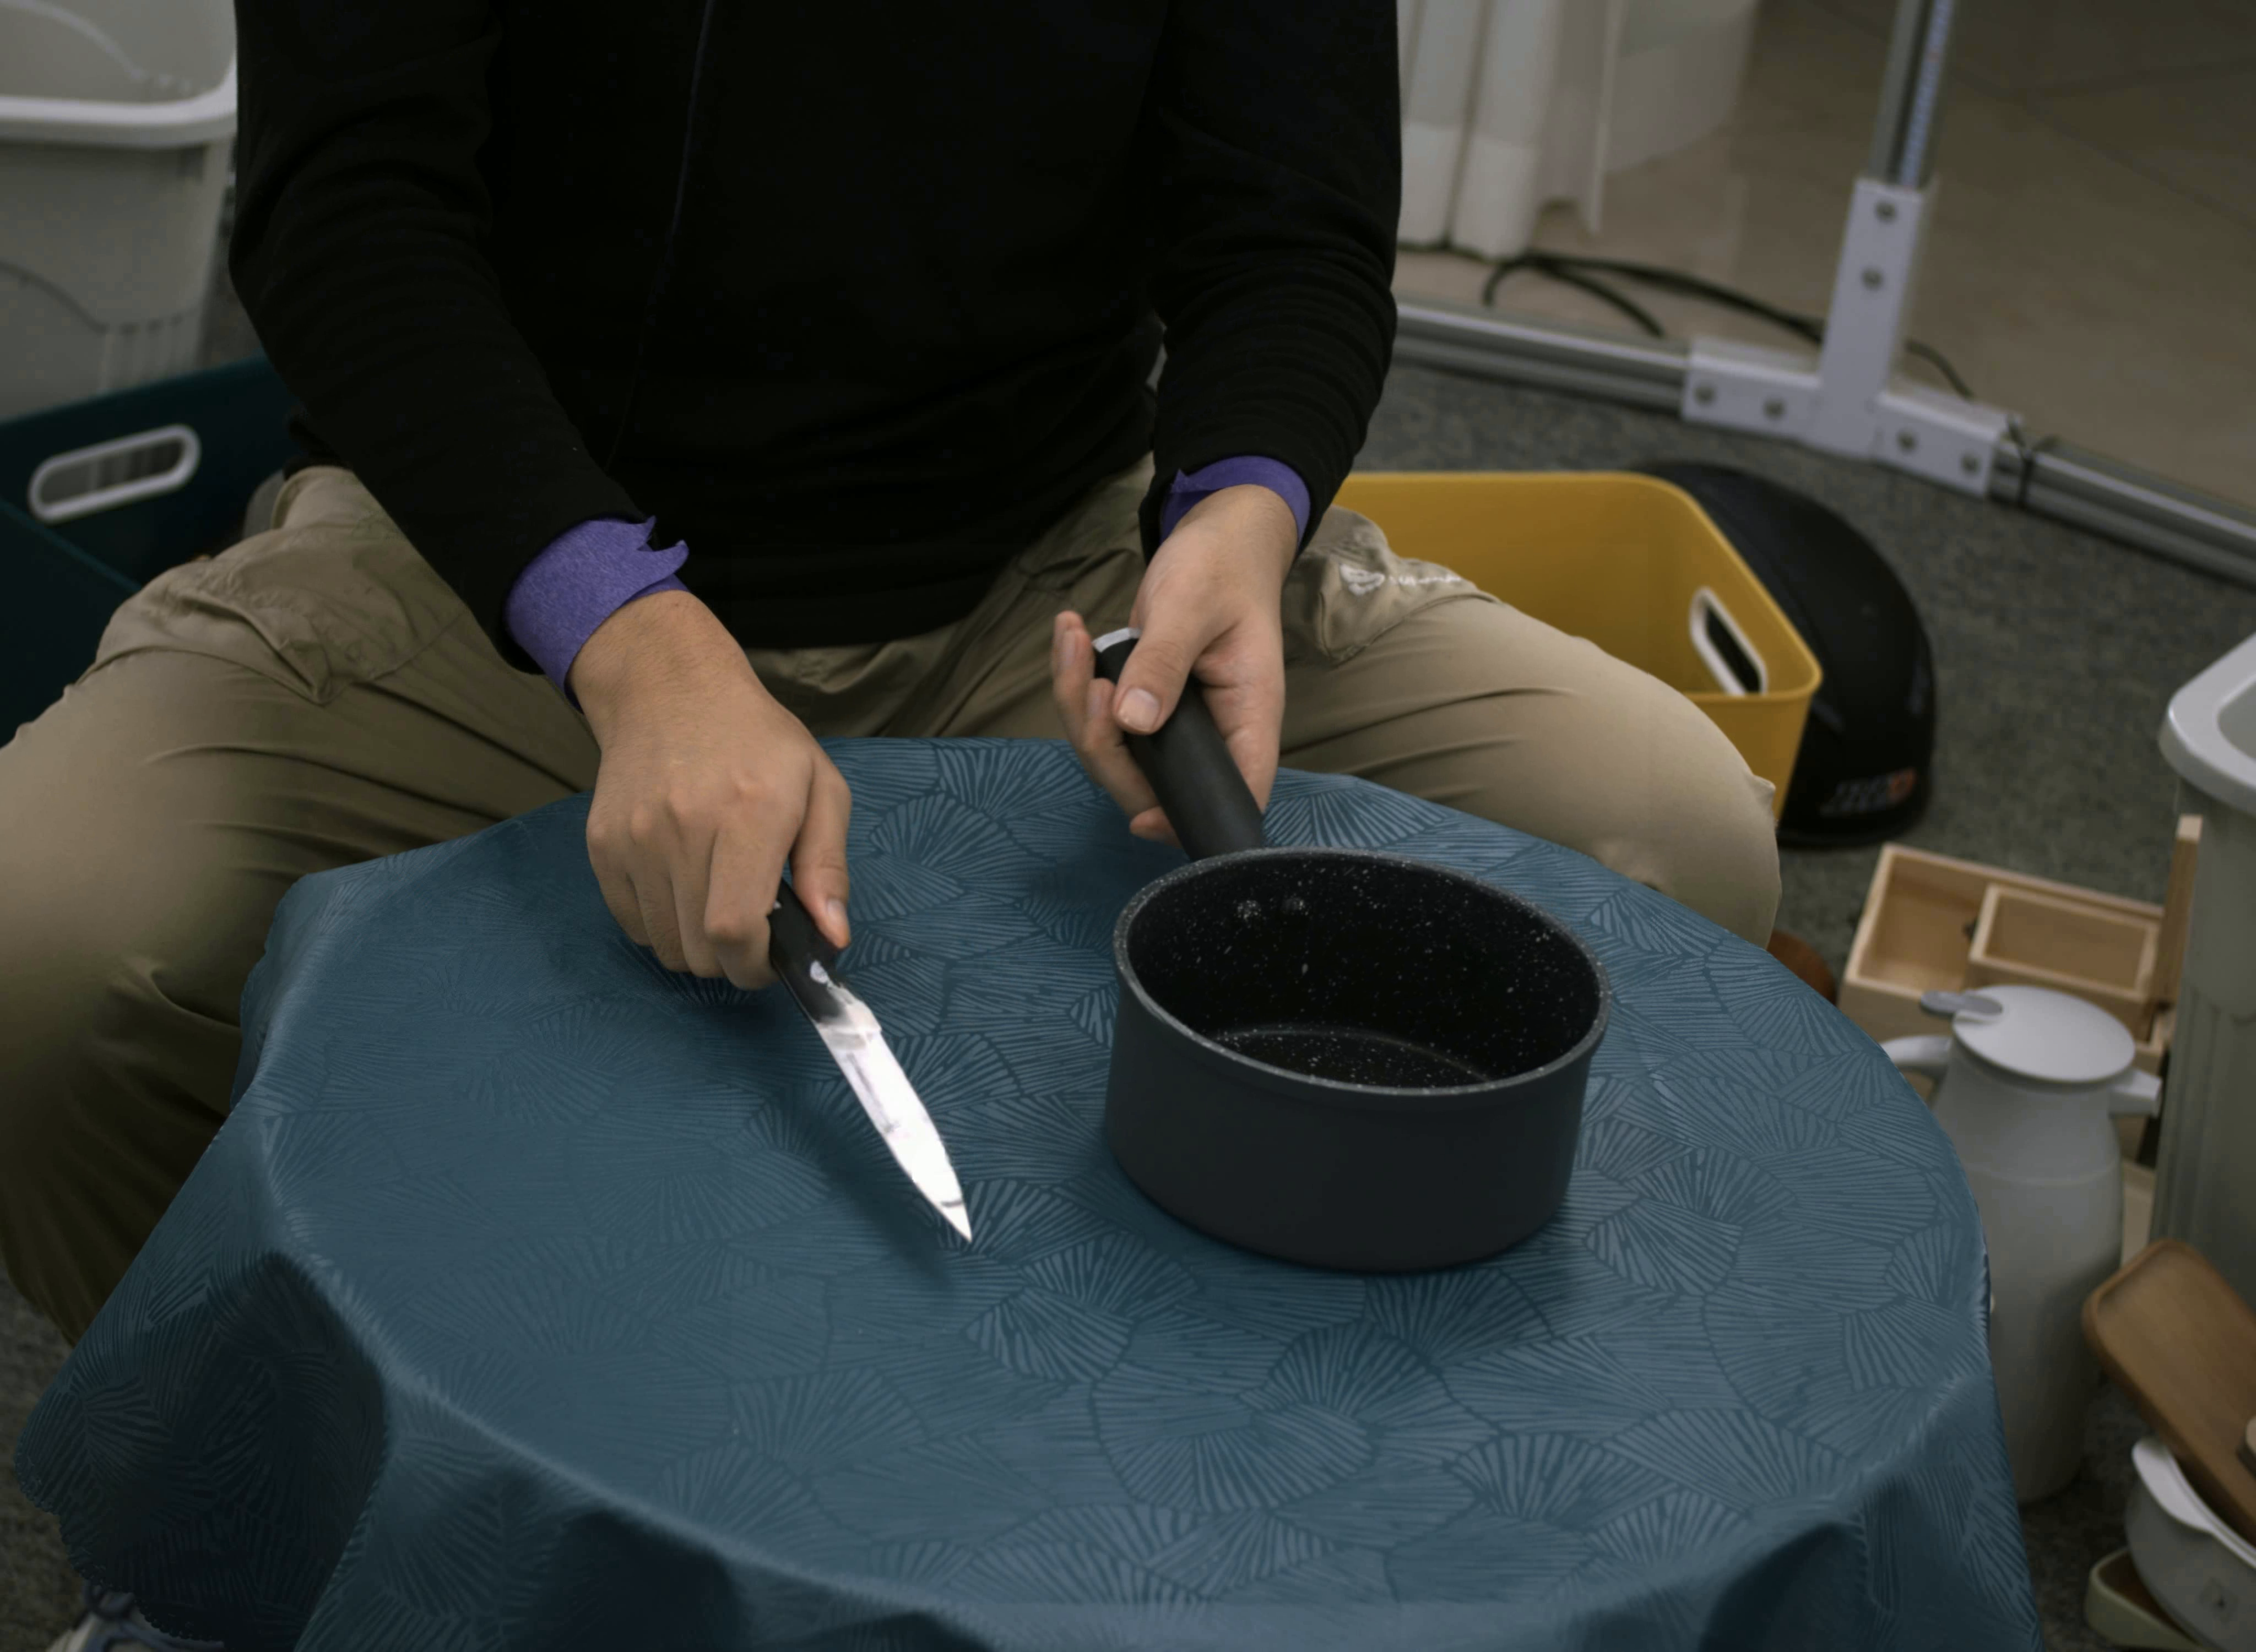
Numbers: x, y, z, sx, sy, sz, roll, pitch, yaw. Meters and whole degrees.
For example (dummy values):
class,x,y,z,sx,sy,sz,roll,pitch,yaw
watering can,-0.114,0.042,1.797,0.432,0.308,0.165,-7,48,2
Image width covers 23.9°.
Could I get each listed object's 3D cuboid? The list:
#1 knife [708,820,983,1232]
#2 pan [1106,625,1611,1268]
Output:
class,x,y,z,sx,sy,sz,roll,pitch,yaw
knife,-0.098,0.067,1.819,0.024,0.016,0.240,-3,34,-27
pan,0.053,0.039,1.889,0.171,0.086,0.331,-2,29,-17
